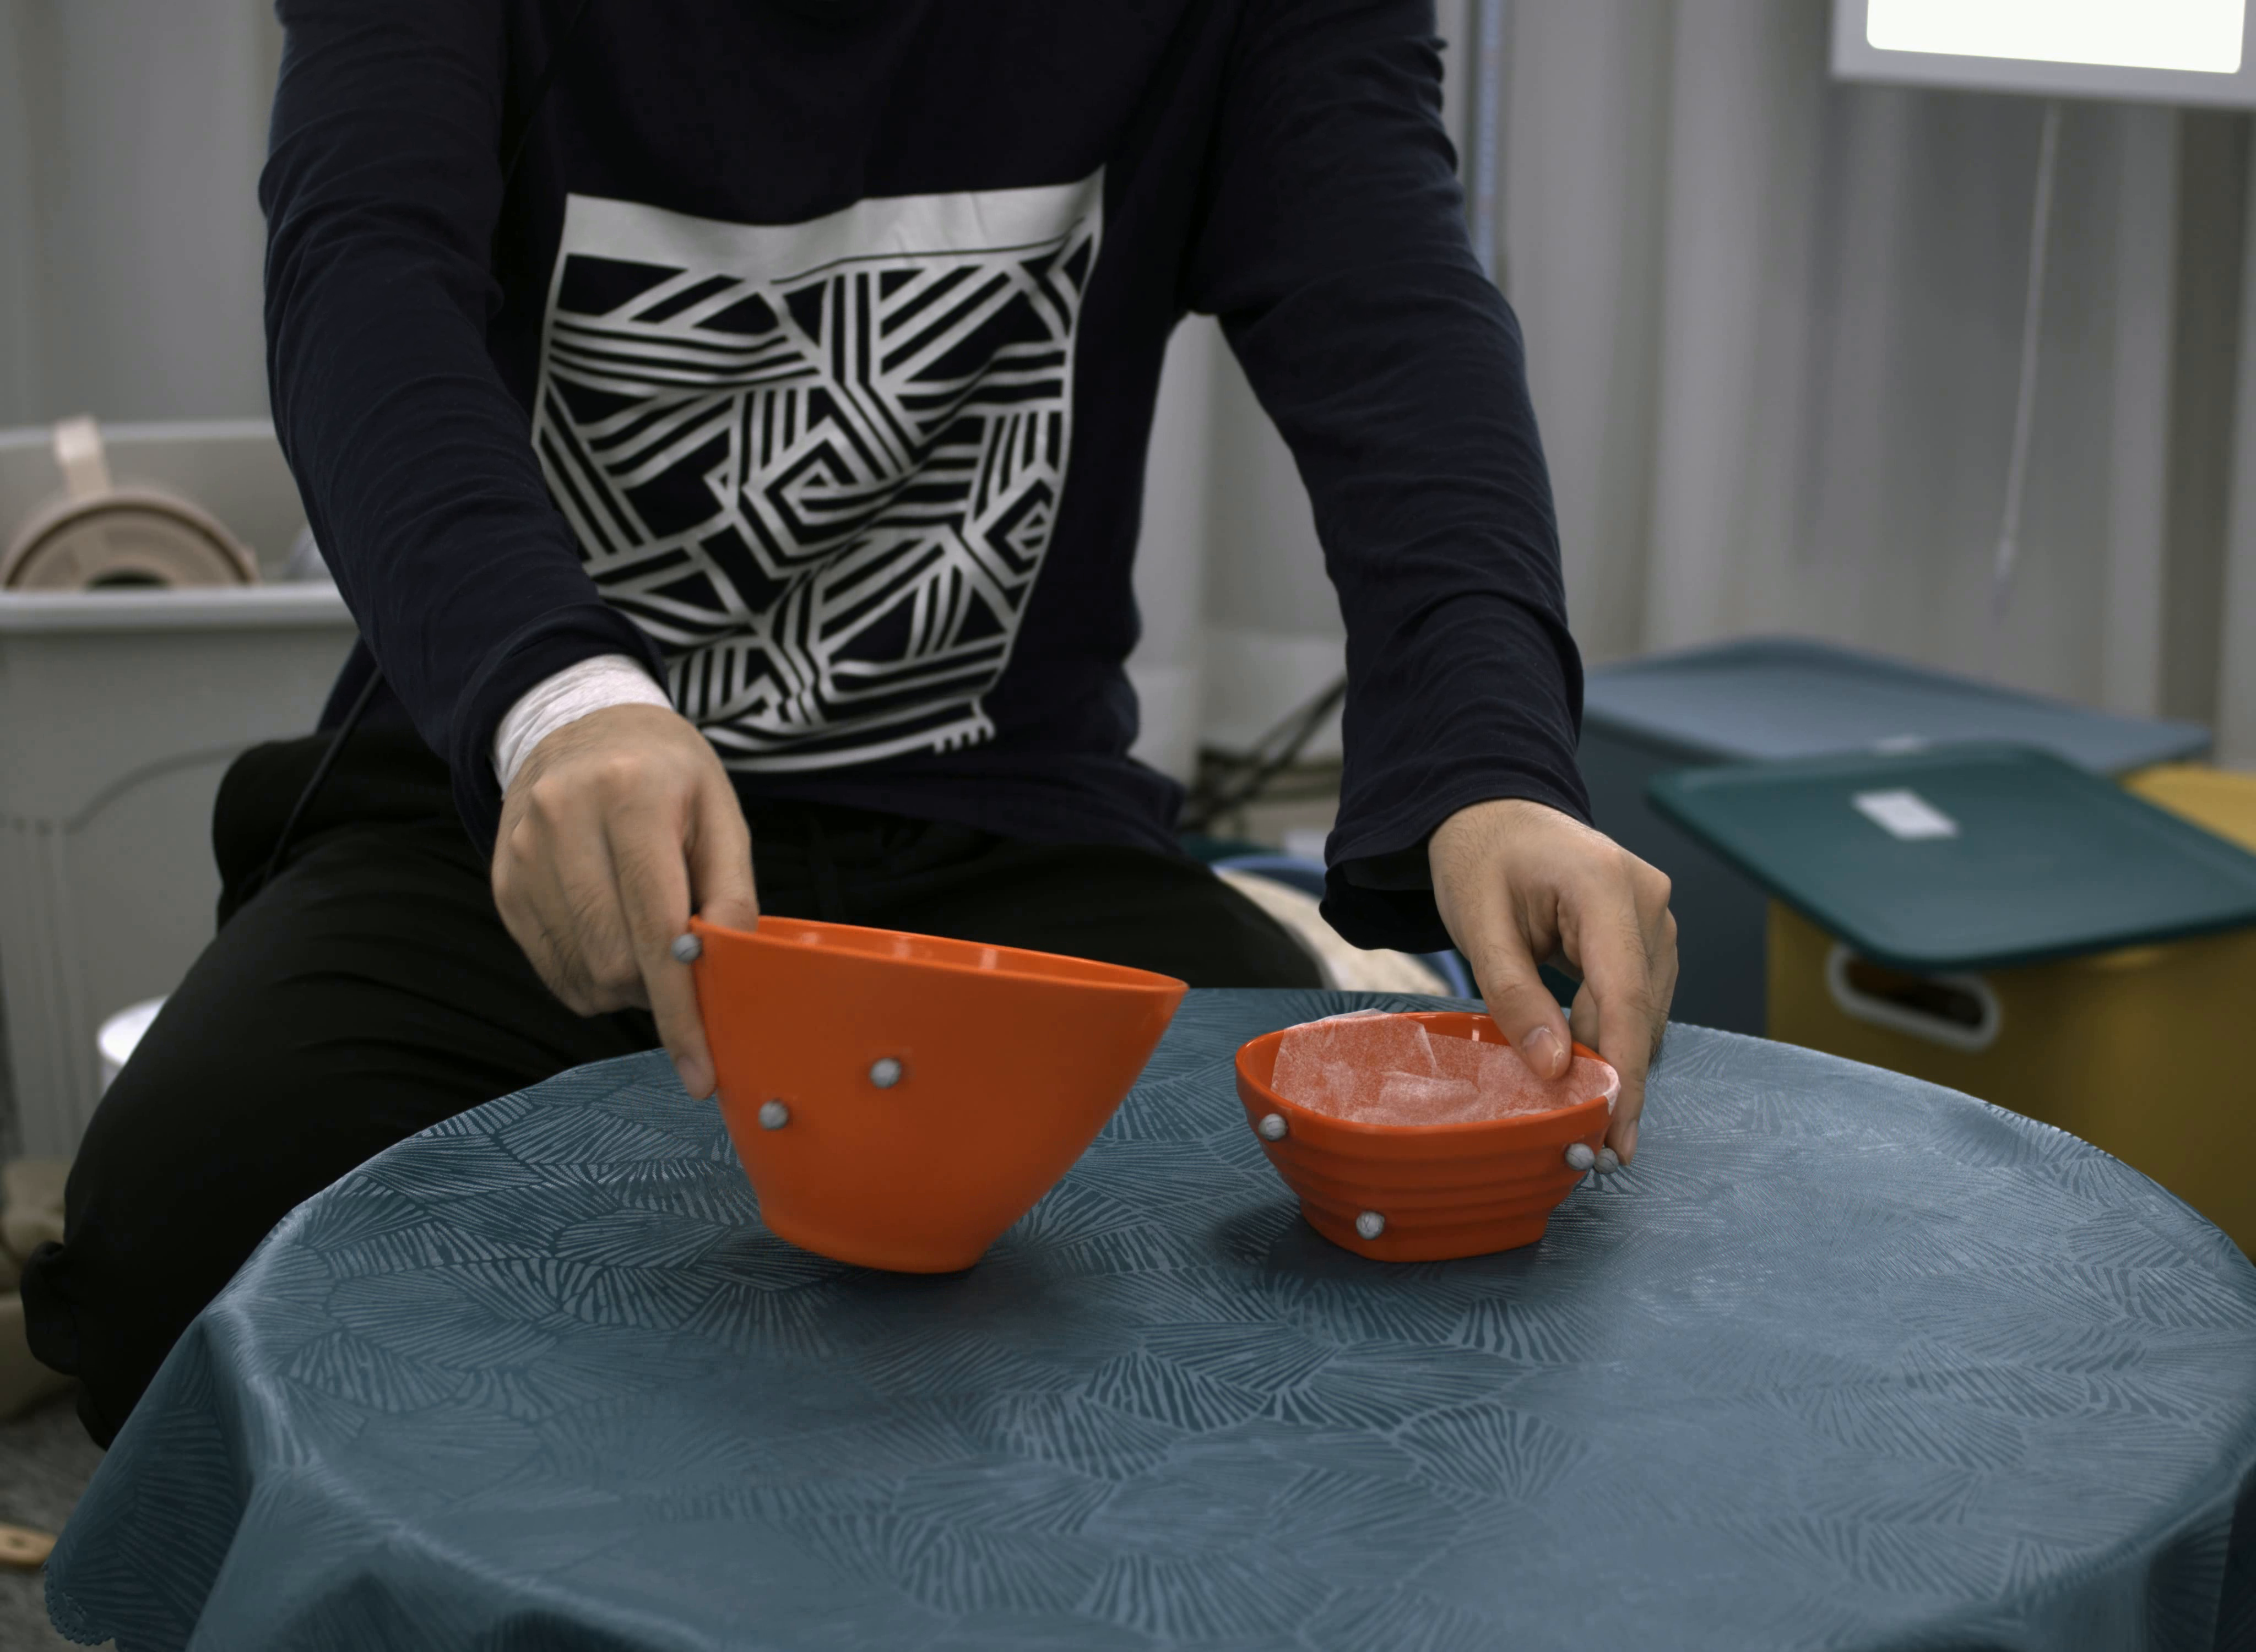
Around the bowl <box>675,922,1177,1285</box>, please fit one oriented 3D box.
[{"bbox_3d":[-0.066,0.078,1.539,0.147,0.105,0.147,10,11,-1],"label":"bowl"}]

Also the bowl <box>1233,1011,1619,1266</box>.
[{"bbox_3d":[0.090,0.096,1.593,0.118,0.052,0.118,-1,15,1],"label":"bowl"}]
